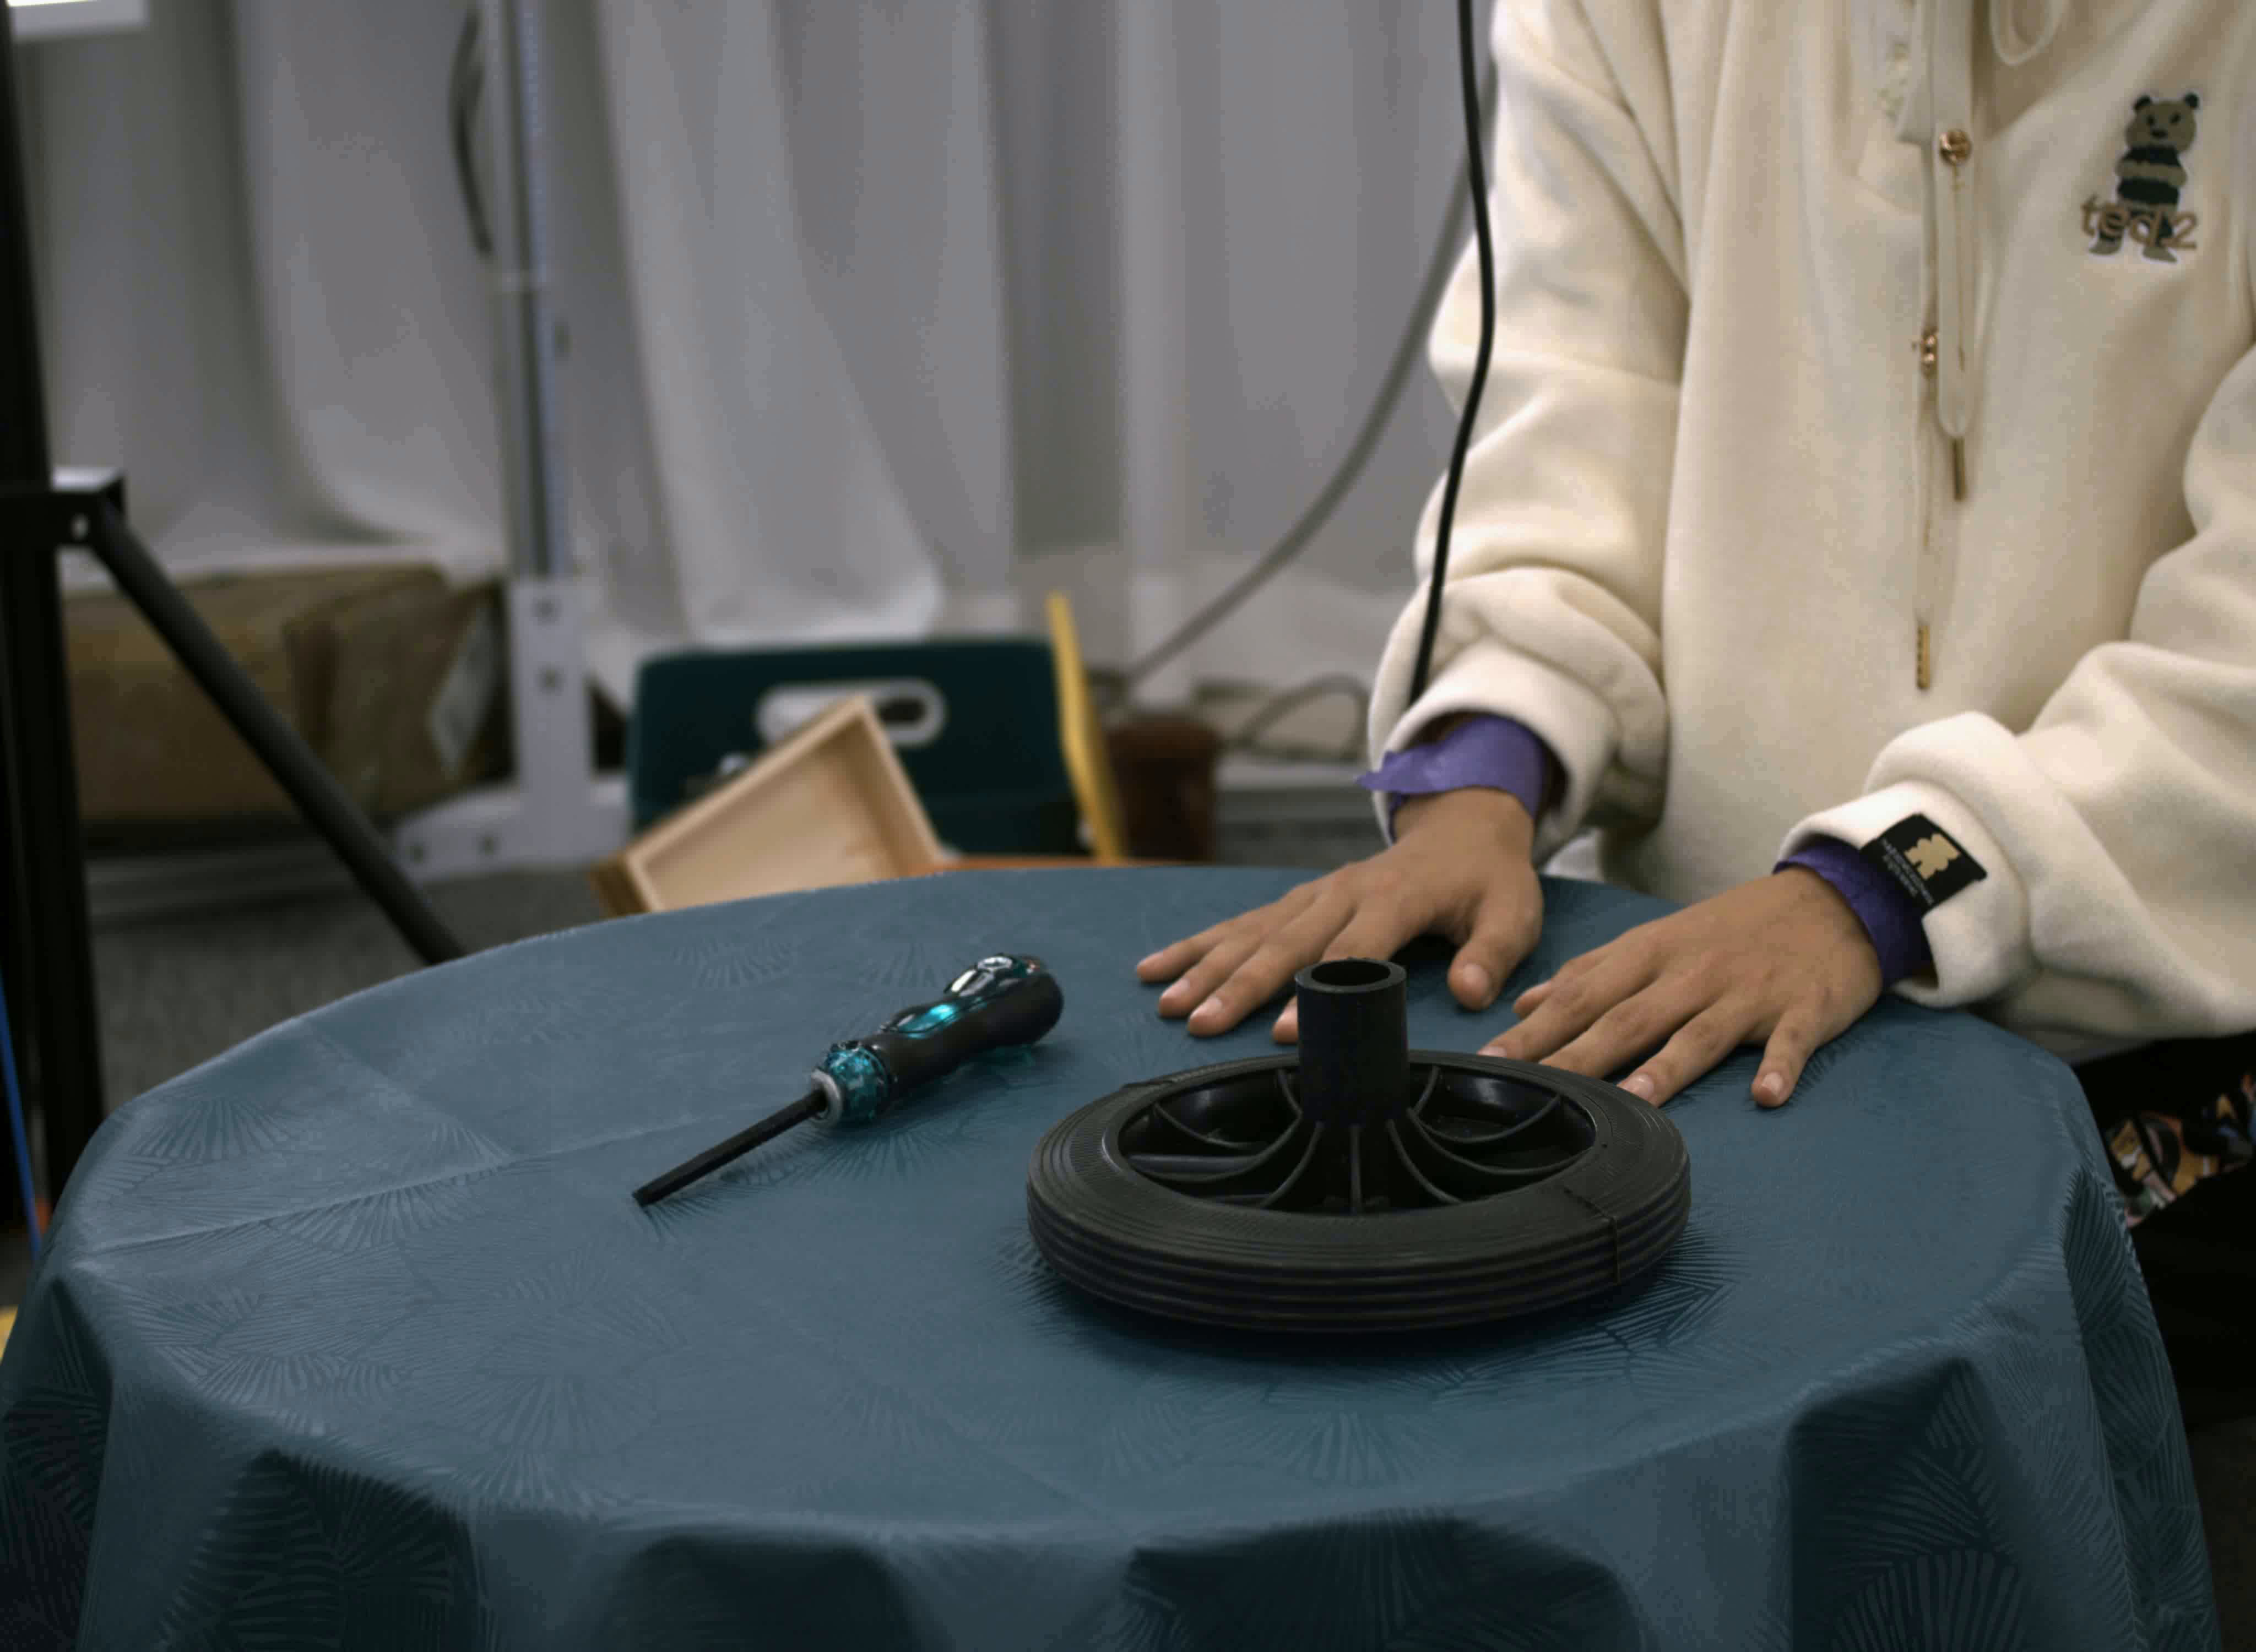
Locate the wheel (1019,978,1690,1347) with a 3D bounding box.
[{"bbox_3d":[0.063,0.085,1.490,0.188,0.079,0.189,-5,16,-8],"label":"wheel"}]

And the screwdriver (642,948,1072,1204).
[{"bbox_3d":[-0.084,0.080,1.633,0.034,0.033,0.186,10,26,38],"label":"screwdriver"}]
